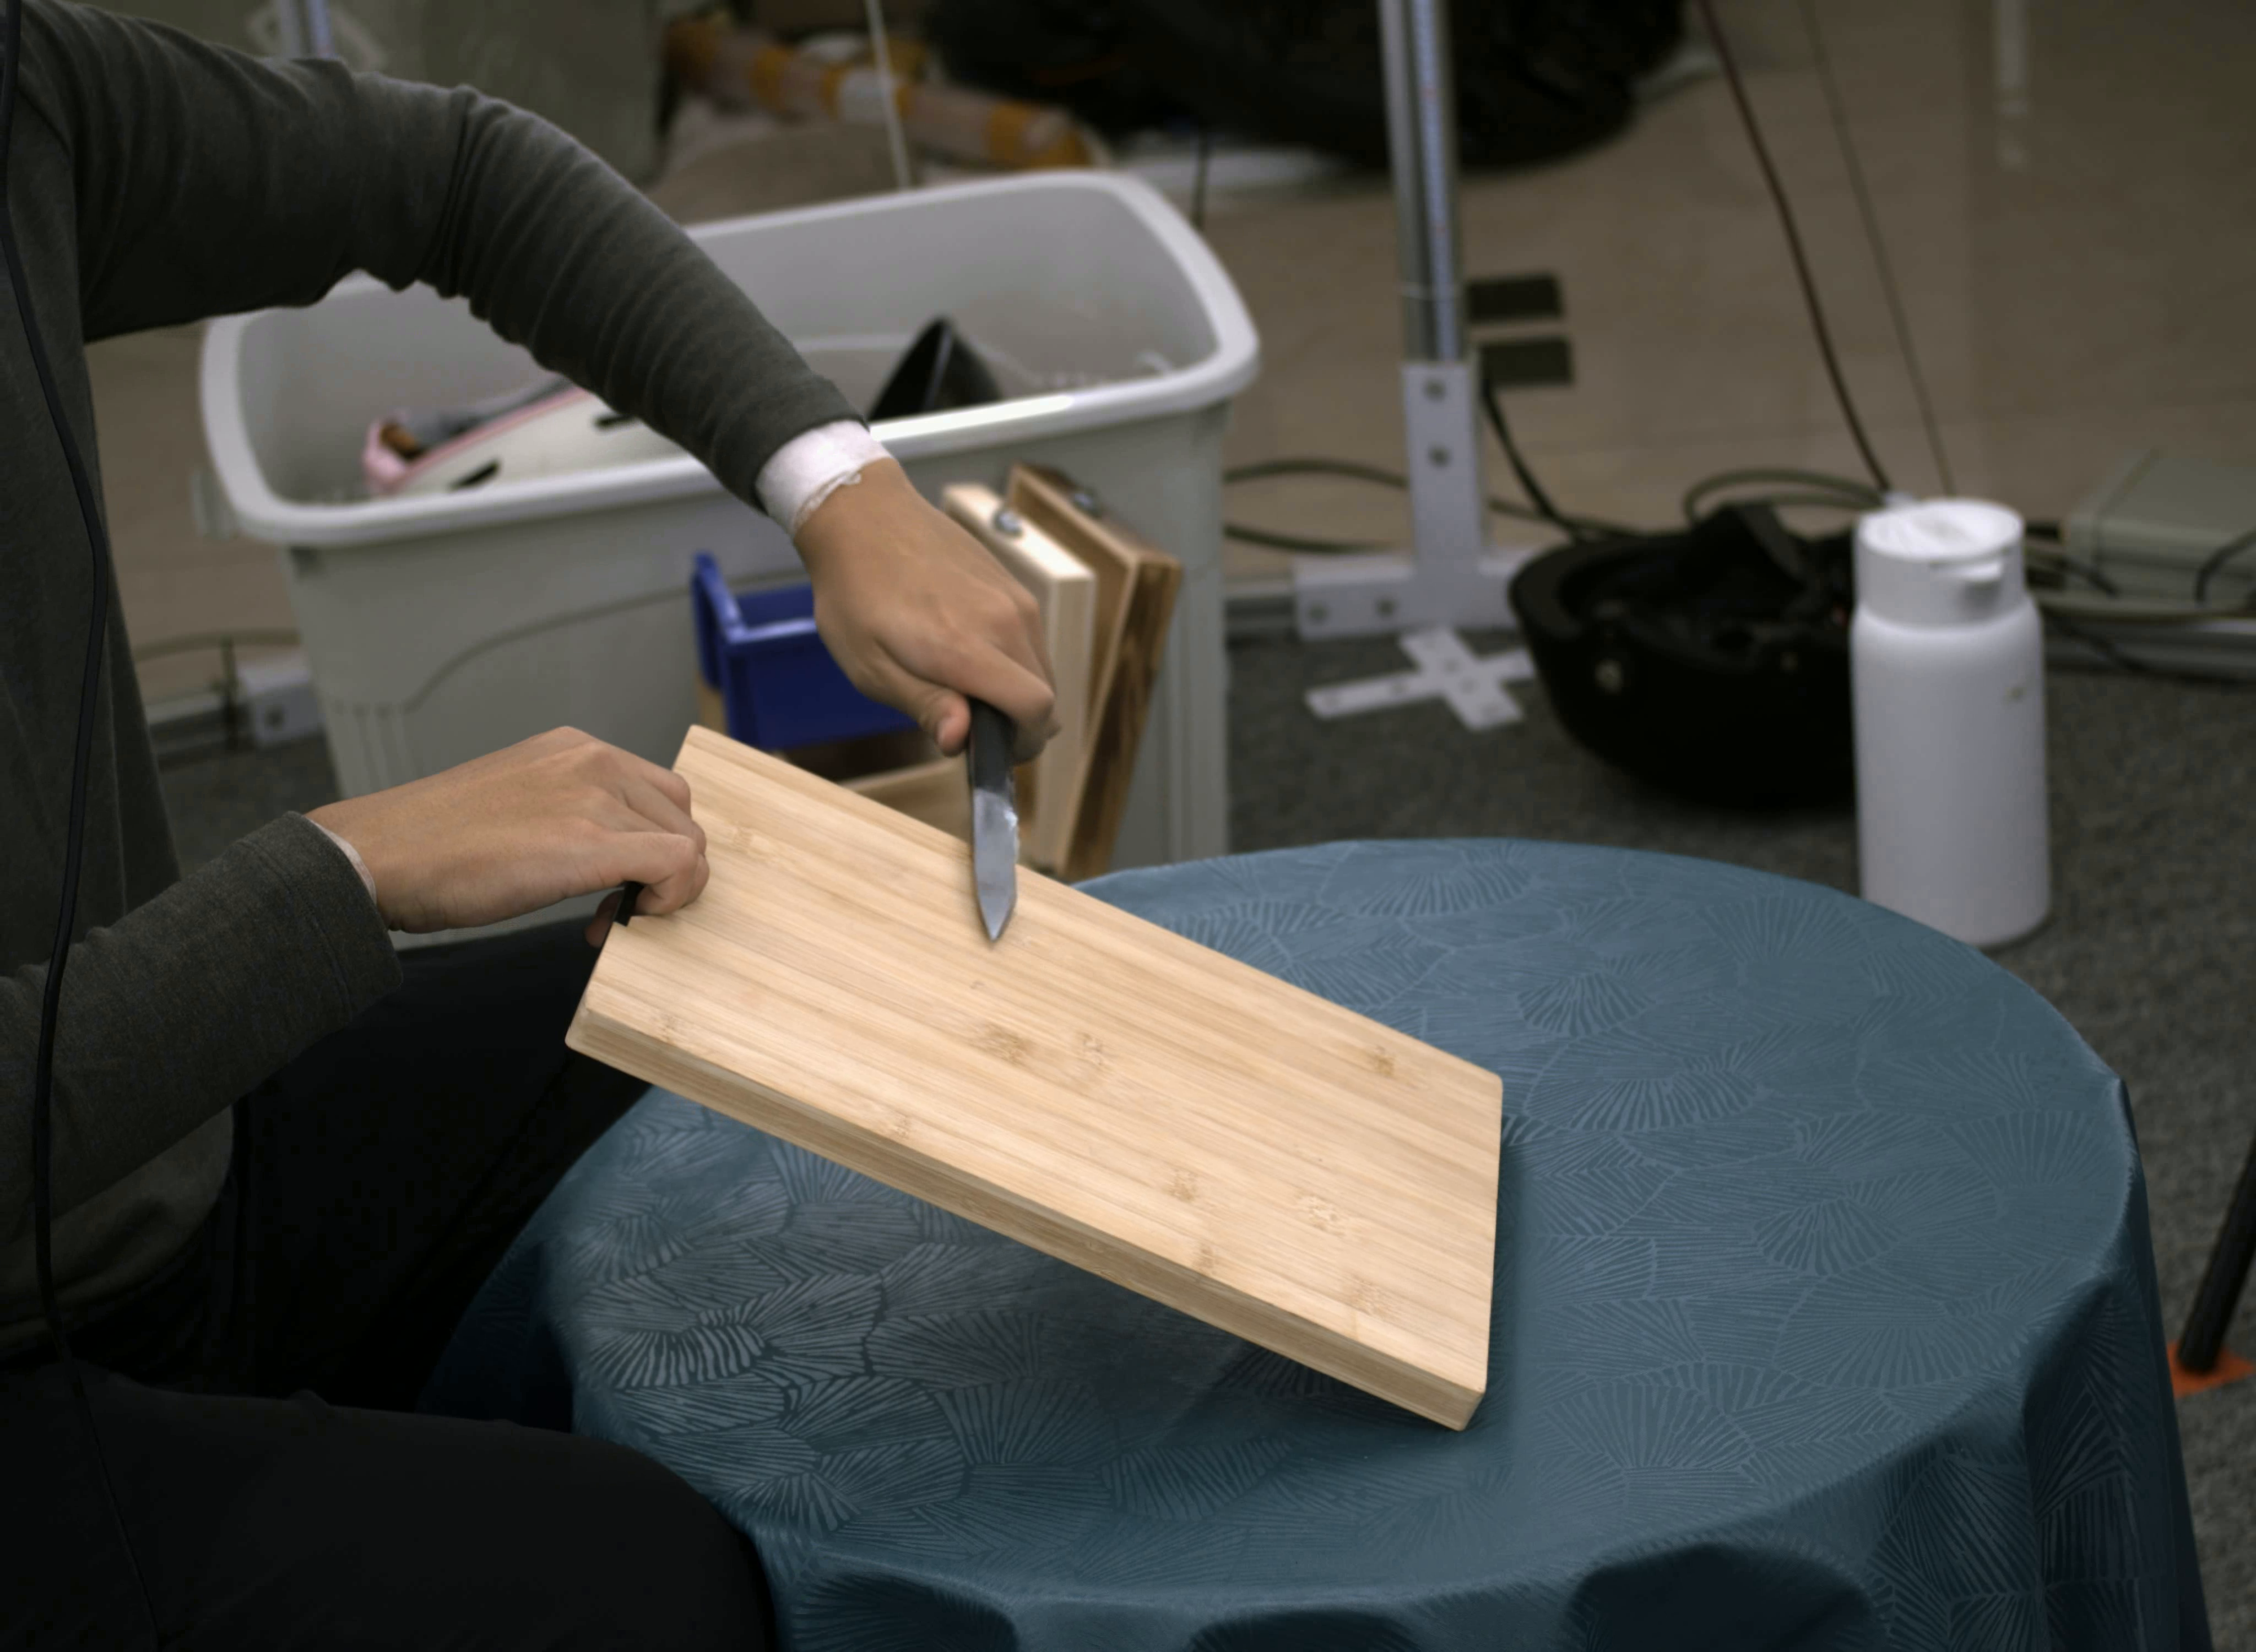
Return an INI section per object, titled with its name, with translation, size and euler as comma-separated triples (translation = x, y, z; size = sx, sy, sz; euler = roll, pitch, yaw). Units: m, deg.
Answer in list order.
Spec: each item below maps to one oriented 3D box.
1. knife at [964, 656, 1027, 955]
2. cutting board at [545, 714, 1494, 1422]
[knife]
translation = -0.051, -0.010, 2.182
size = 0.024, 0.016, 0.234
euler = 31, 22, -18
[cutting board]
translation = -0.030, 0.084, 2.052
size = 0.349, 0.024, 0.247
euler = 24, 25, -7
